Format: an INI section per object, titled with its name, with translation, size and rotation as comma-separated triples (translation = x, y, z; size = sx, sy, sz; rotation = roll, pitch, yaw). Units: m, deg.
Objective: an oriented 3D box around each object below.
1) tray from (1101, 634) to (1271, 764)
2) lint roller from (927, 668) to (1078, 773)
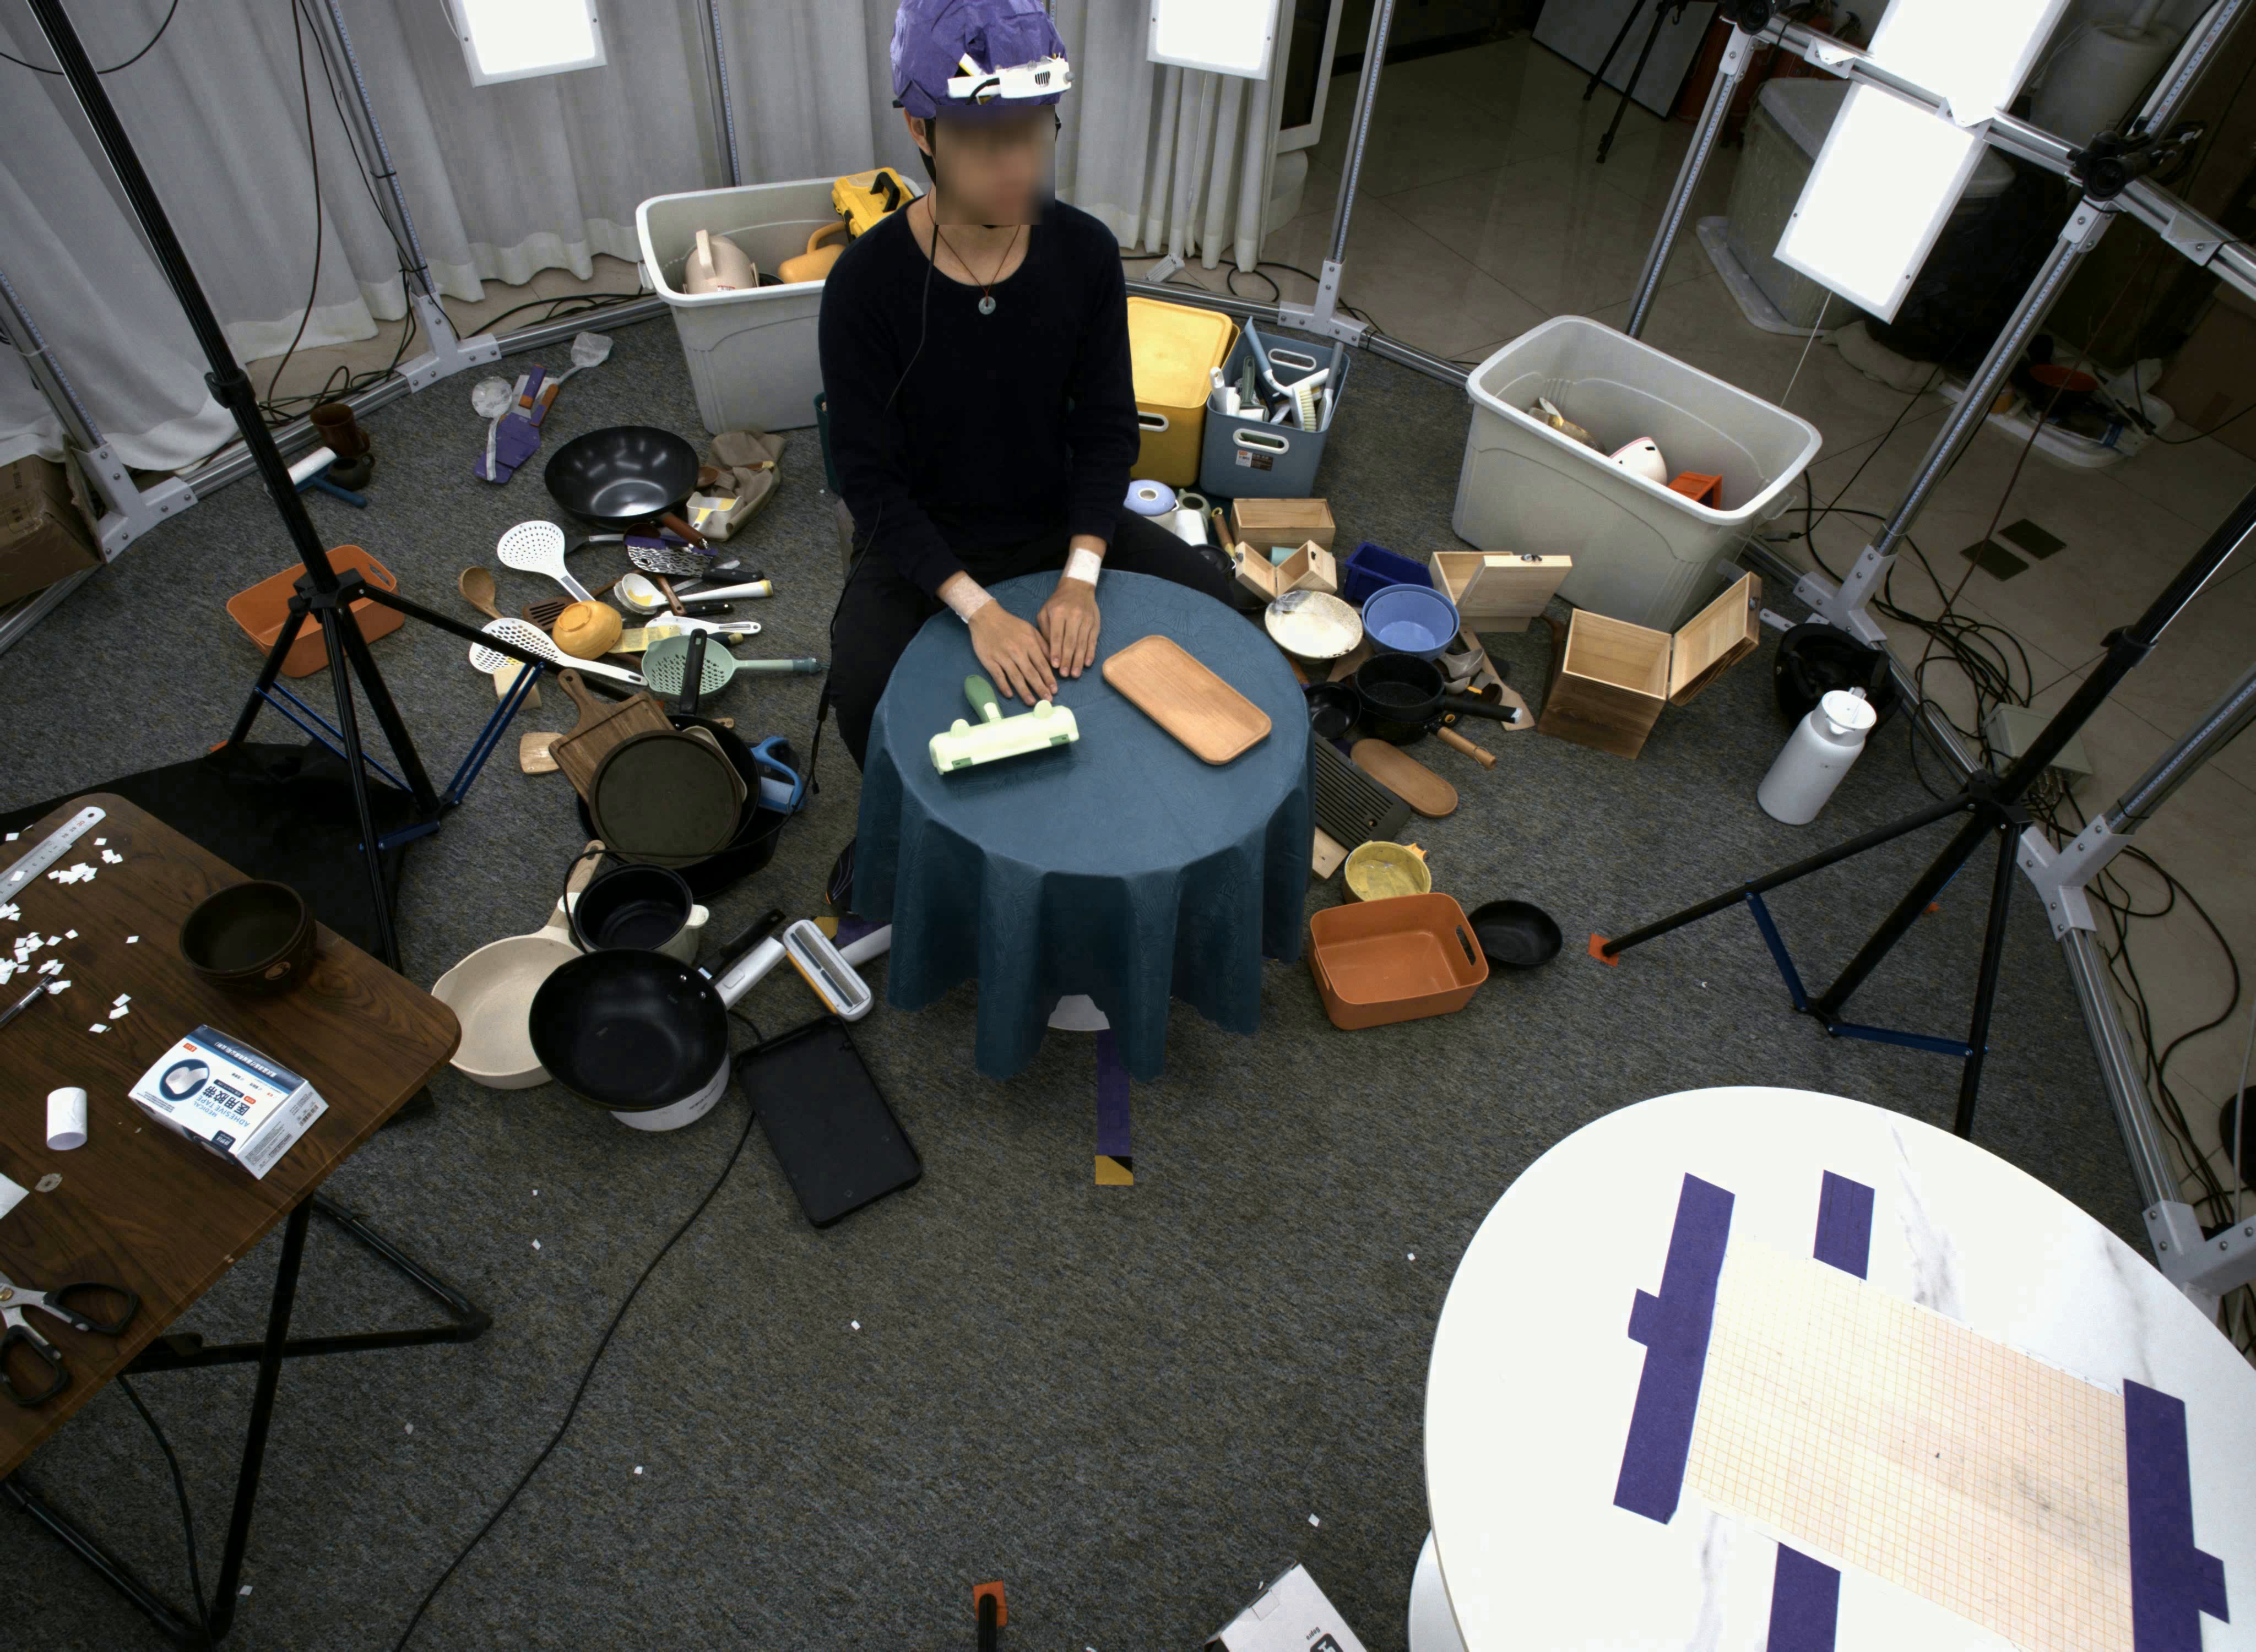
[tray]
translation = 0.080, -0.182, 1.821
size = 0.131, 0.022, 0.255
rotation = -31, 57, -29
[lint roller]
translation = -0.187, -0.165, 1.743
size = 0.199, 0.080, 0.187
rotation = -15, 57, -17
